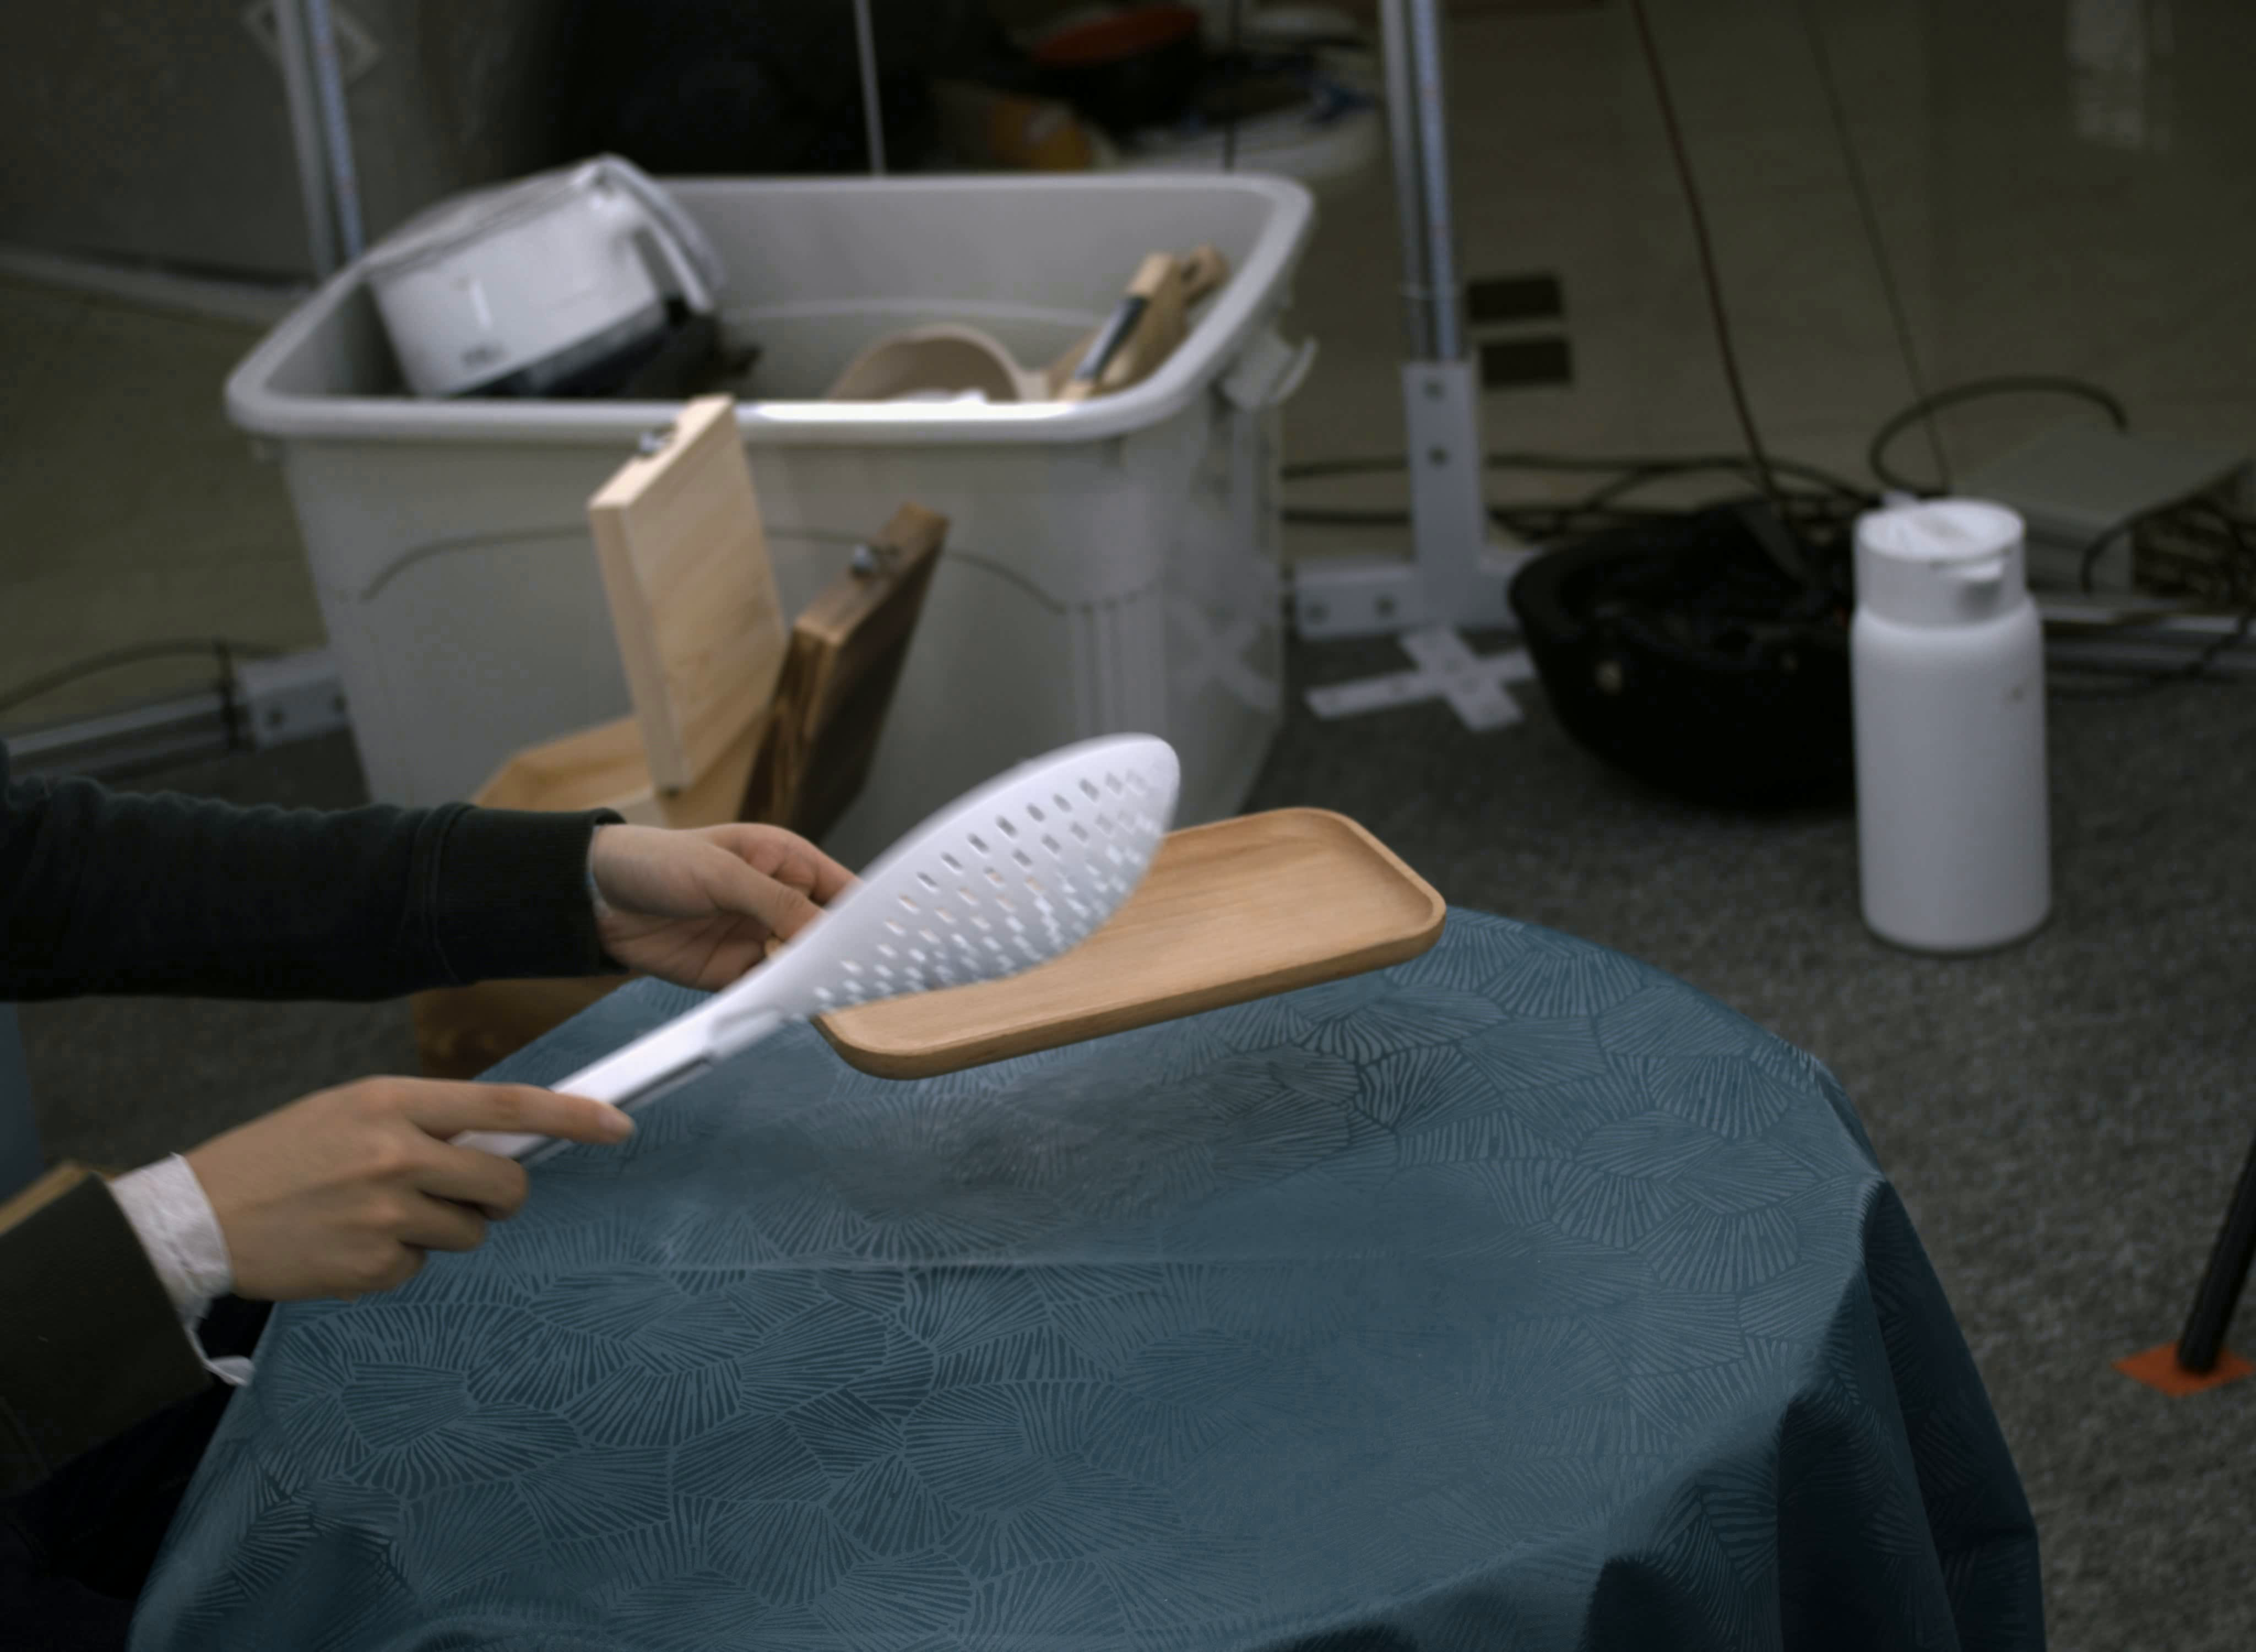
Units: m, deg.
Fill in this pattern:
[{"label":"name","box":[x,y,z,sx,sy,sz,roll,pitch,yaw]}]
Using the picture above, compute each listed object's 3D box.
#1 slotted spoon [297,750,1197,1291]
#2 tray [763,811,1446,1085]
[{"label":"slotted spoon","box":[-0.128,0.069,1.947,0.349,0.045,0.137,-24,-16,-3]},{"label":"tray","box":[-0.008,0.046,2.167,0.250,0.023,0.129,-13,26,-20]}]
